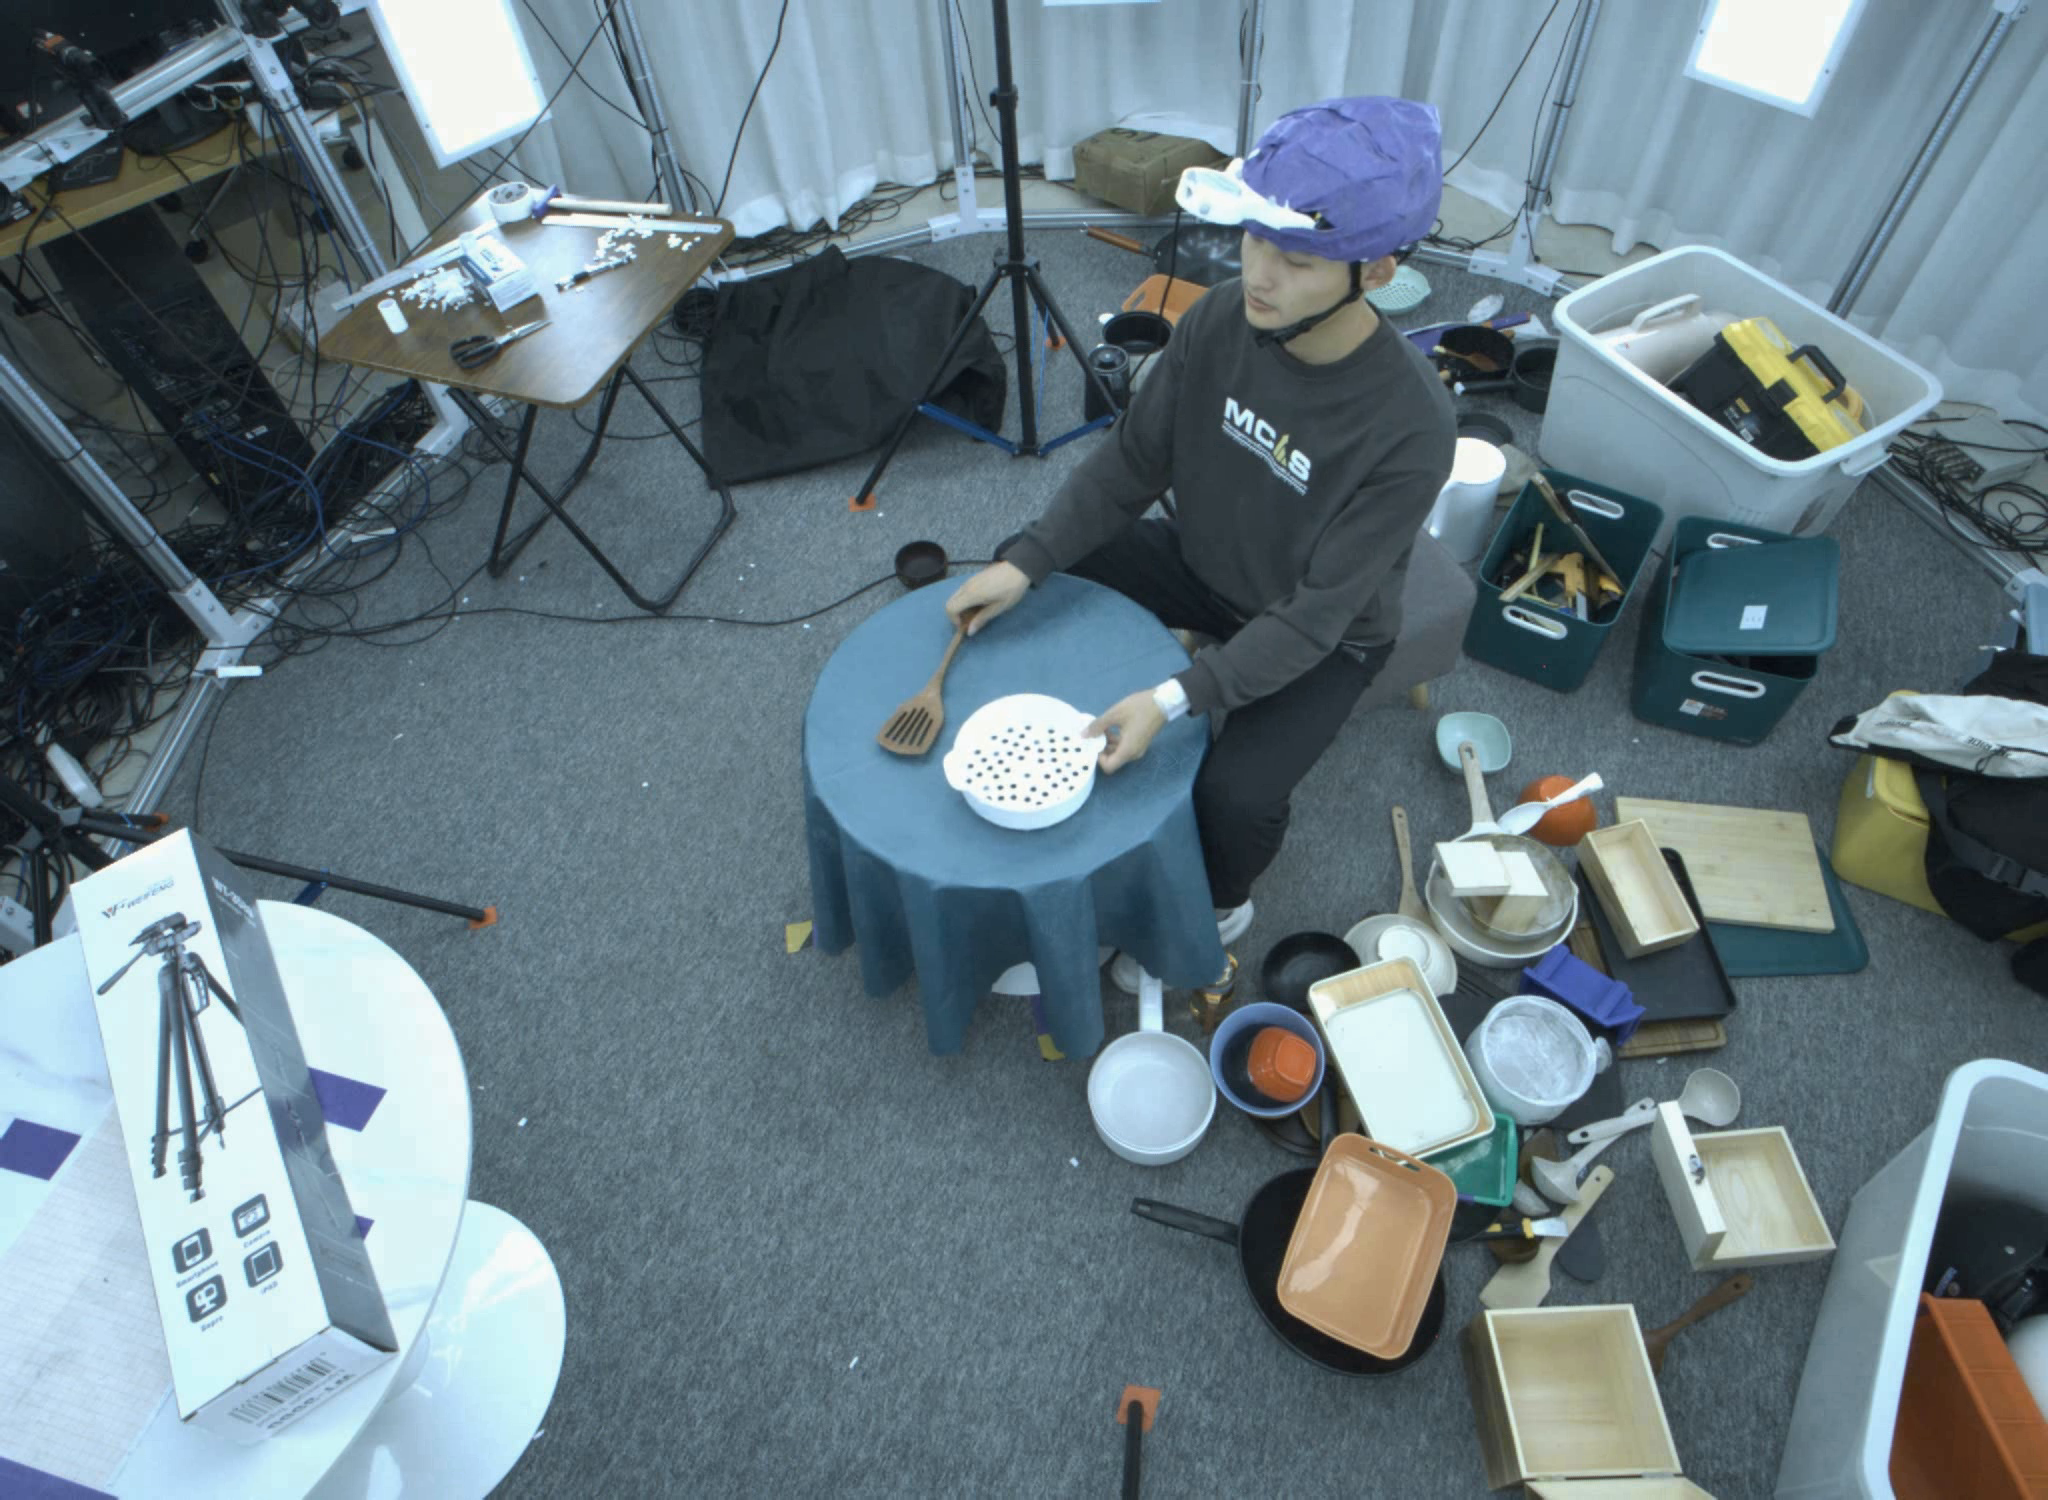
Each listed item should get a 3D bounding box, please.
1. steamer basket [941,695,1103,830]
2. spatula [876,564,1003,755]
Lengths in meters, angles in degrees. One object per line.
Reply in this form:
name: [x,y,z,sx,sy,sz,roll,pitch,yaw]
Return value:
steamer basket: [-0.003,0.019,1.742,0.232,0.070,0.198,-14,58,-12]
spatula: [-0.113,-0.146,1.880,0.085,0.024,0.385,16,60,14]
